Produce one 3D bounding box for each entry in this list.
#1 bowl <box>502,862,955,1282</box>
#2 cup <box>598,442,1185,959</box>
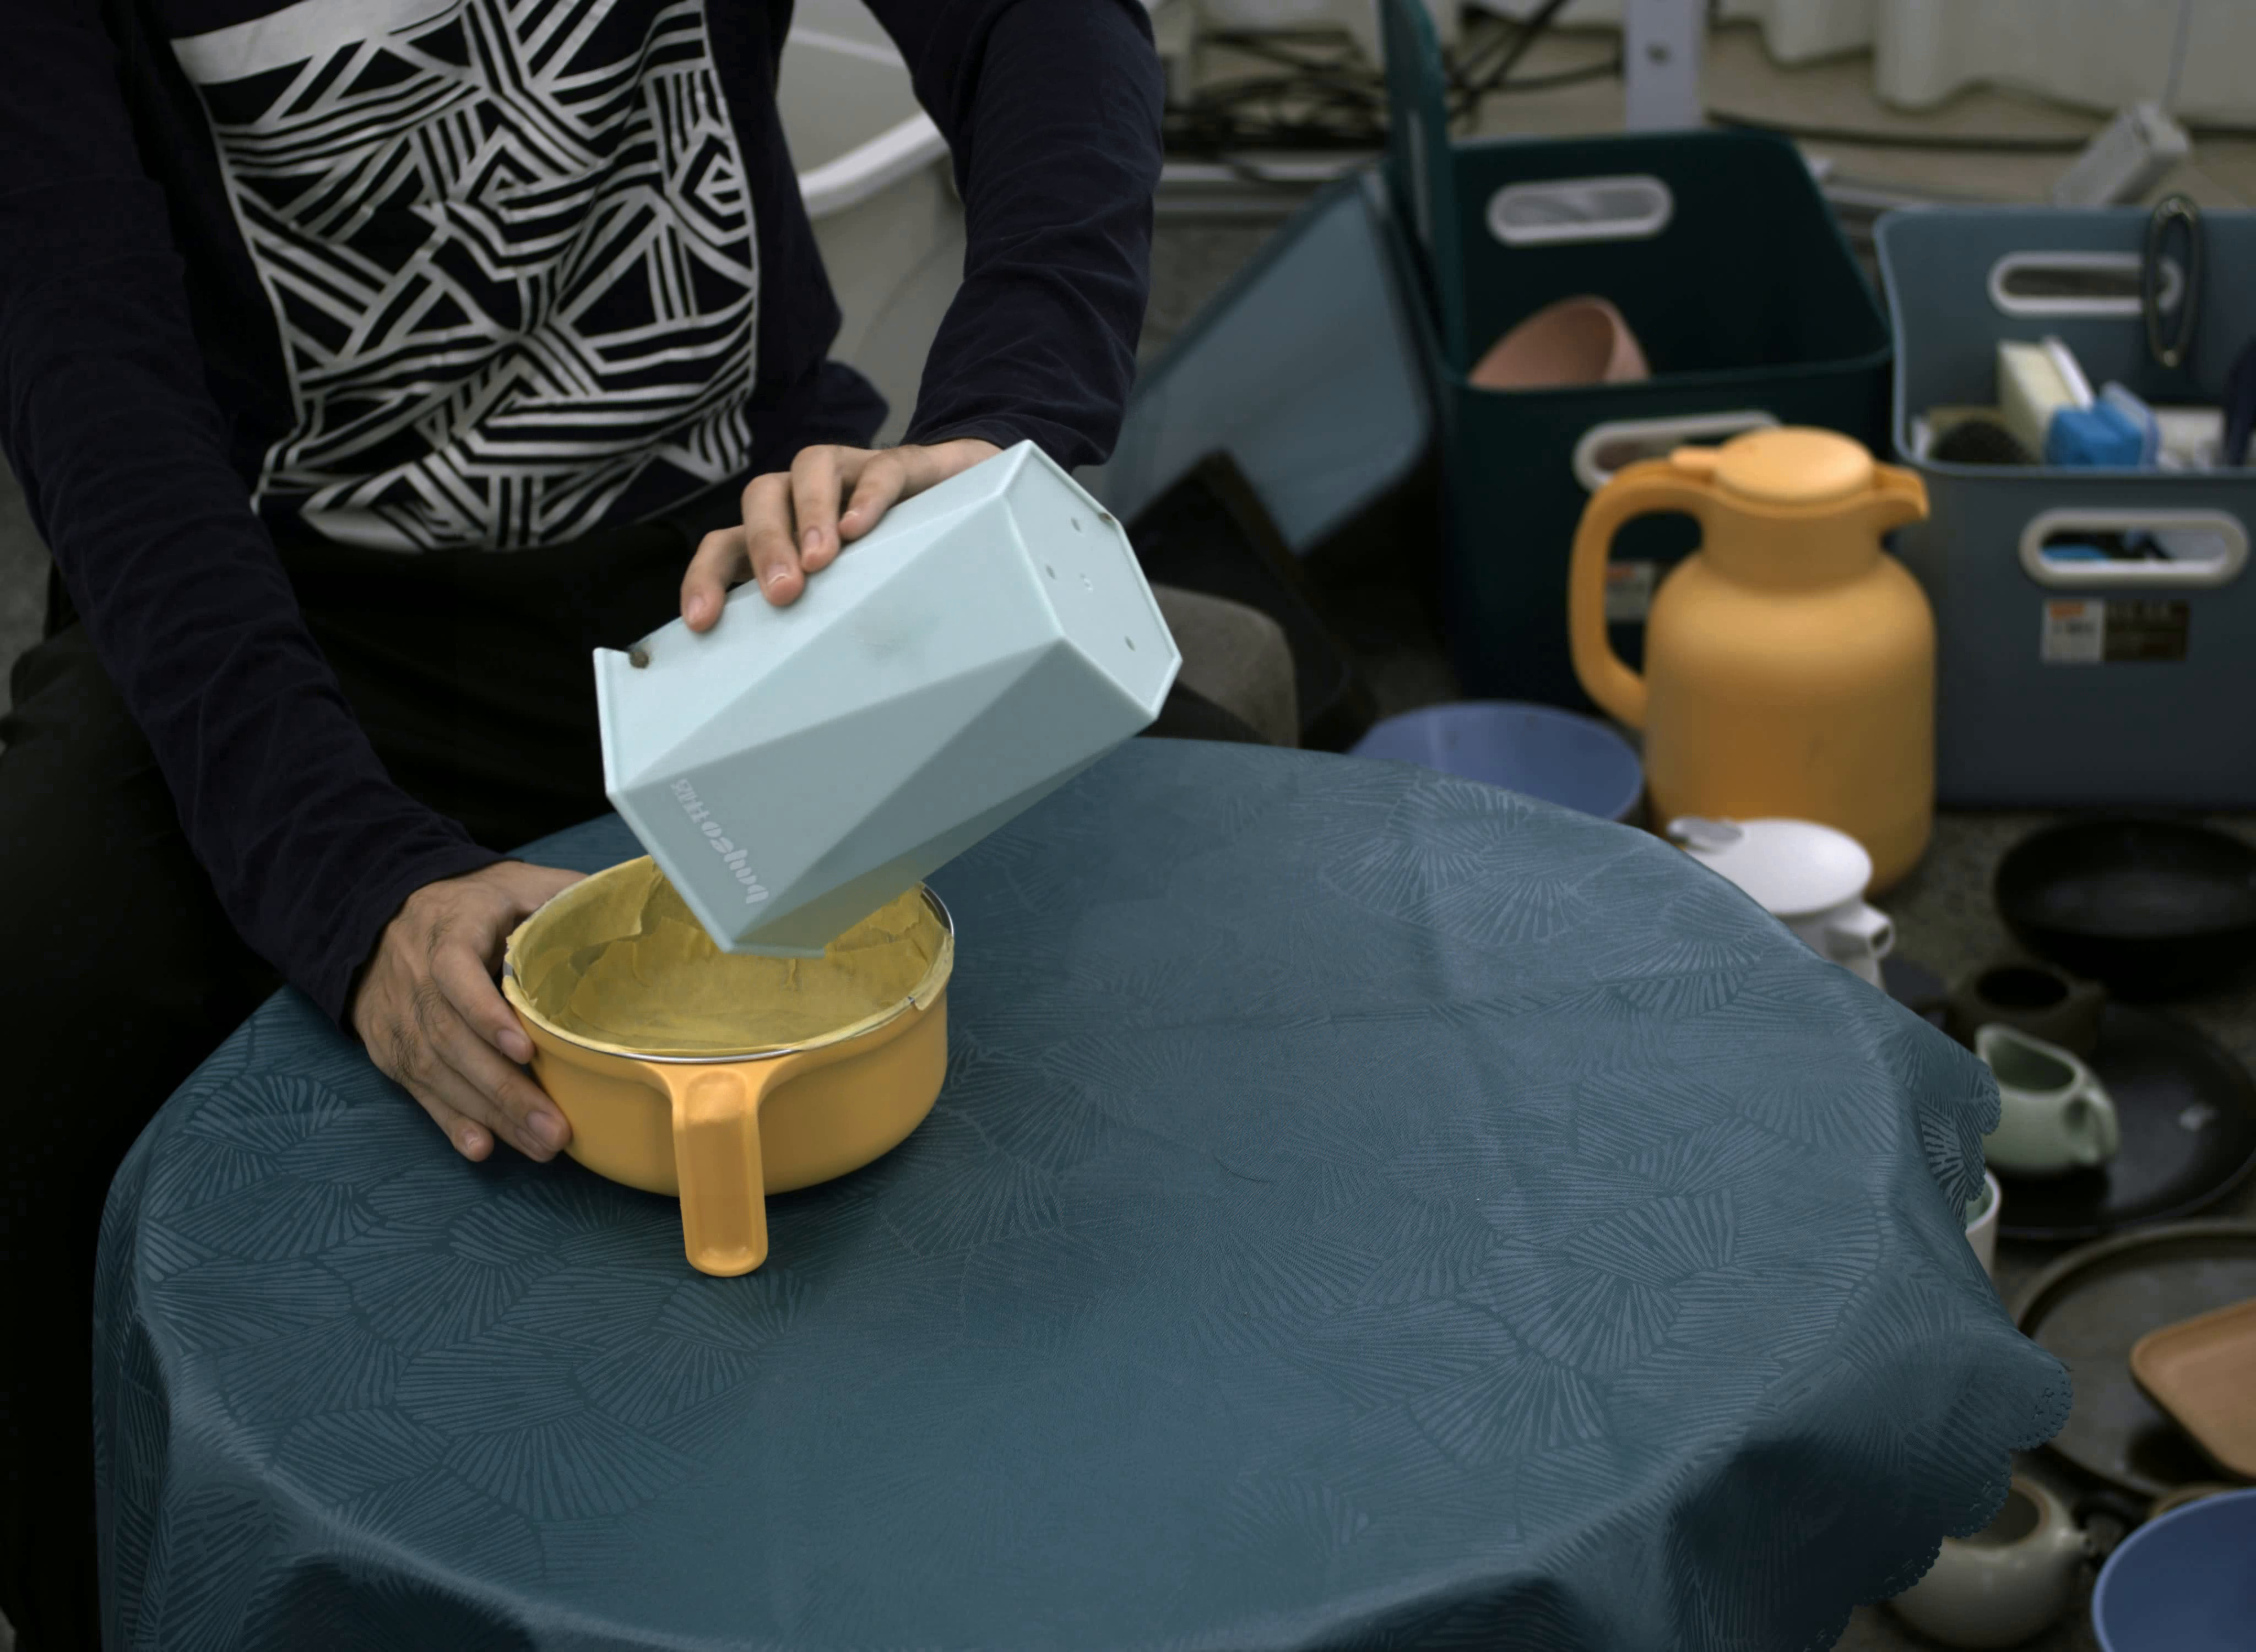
[{"bbox_3d":[-0.132,0.078,1.887,0.152,0.073,0.181,-4,25,-3],"label":"bowl"},{"bbox_3d":[-0.076,-0.045,1.848,0.161,0.131,0.117,-29,12,20],"label":"cup"}]
